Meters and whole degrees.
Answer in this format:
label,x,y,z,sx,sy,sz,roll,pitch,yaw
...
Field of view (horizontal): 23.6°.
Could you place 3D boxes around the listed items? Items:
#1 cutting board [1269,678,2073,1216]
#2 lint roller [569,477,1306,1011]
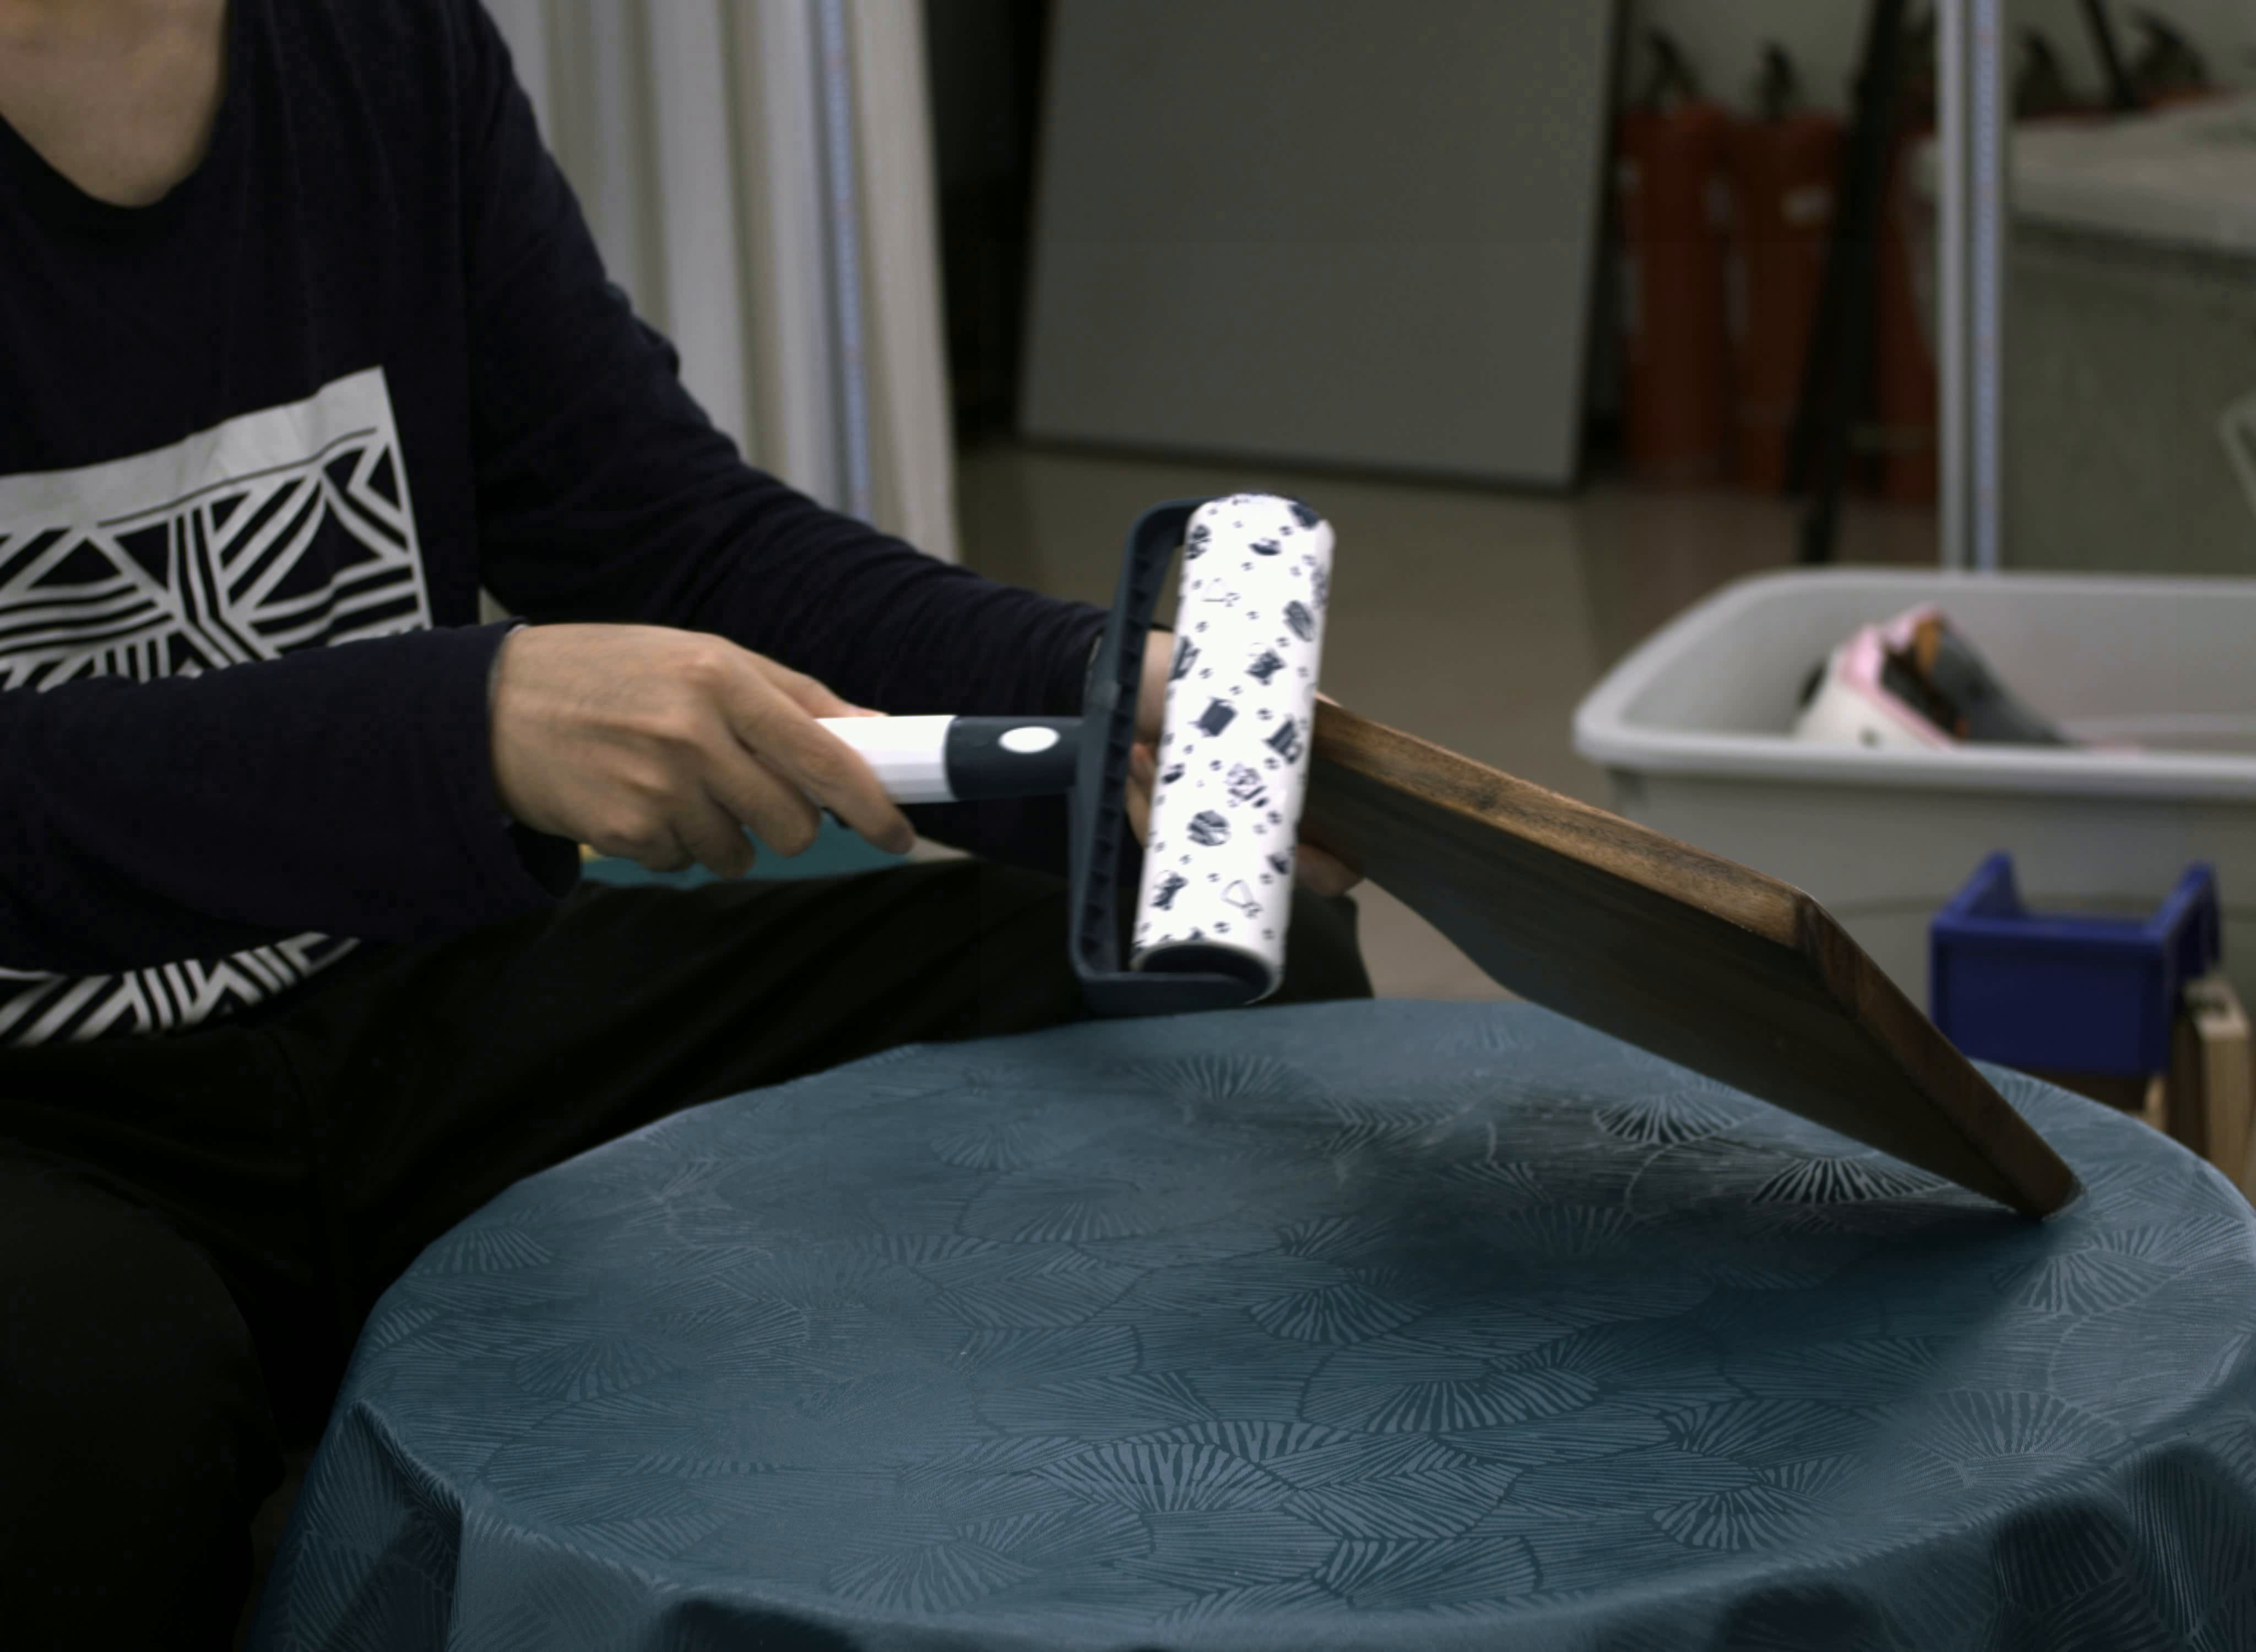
label,x,y,z,sx,sy,sz,roll,pitch,yaw
cutting board,0.131,0.023,1.741,0.356,0.023,0.198,22,-15,45
lint roller,-0.067,-0.021,1.717,0.246,0.178,0.050,-3,-28,19
